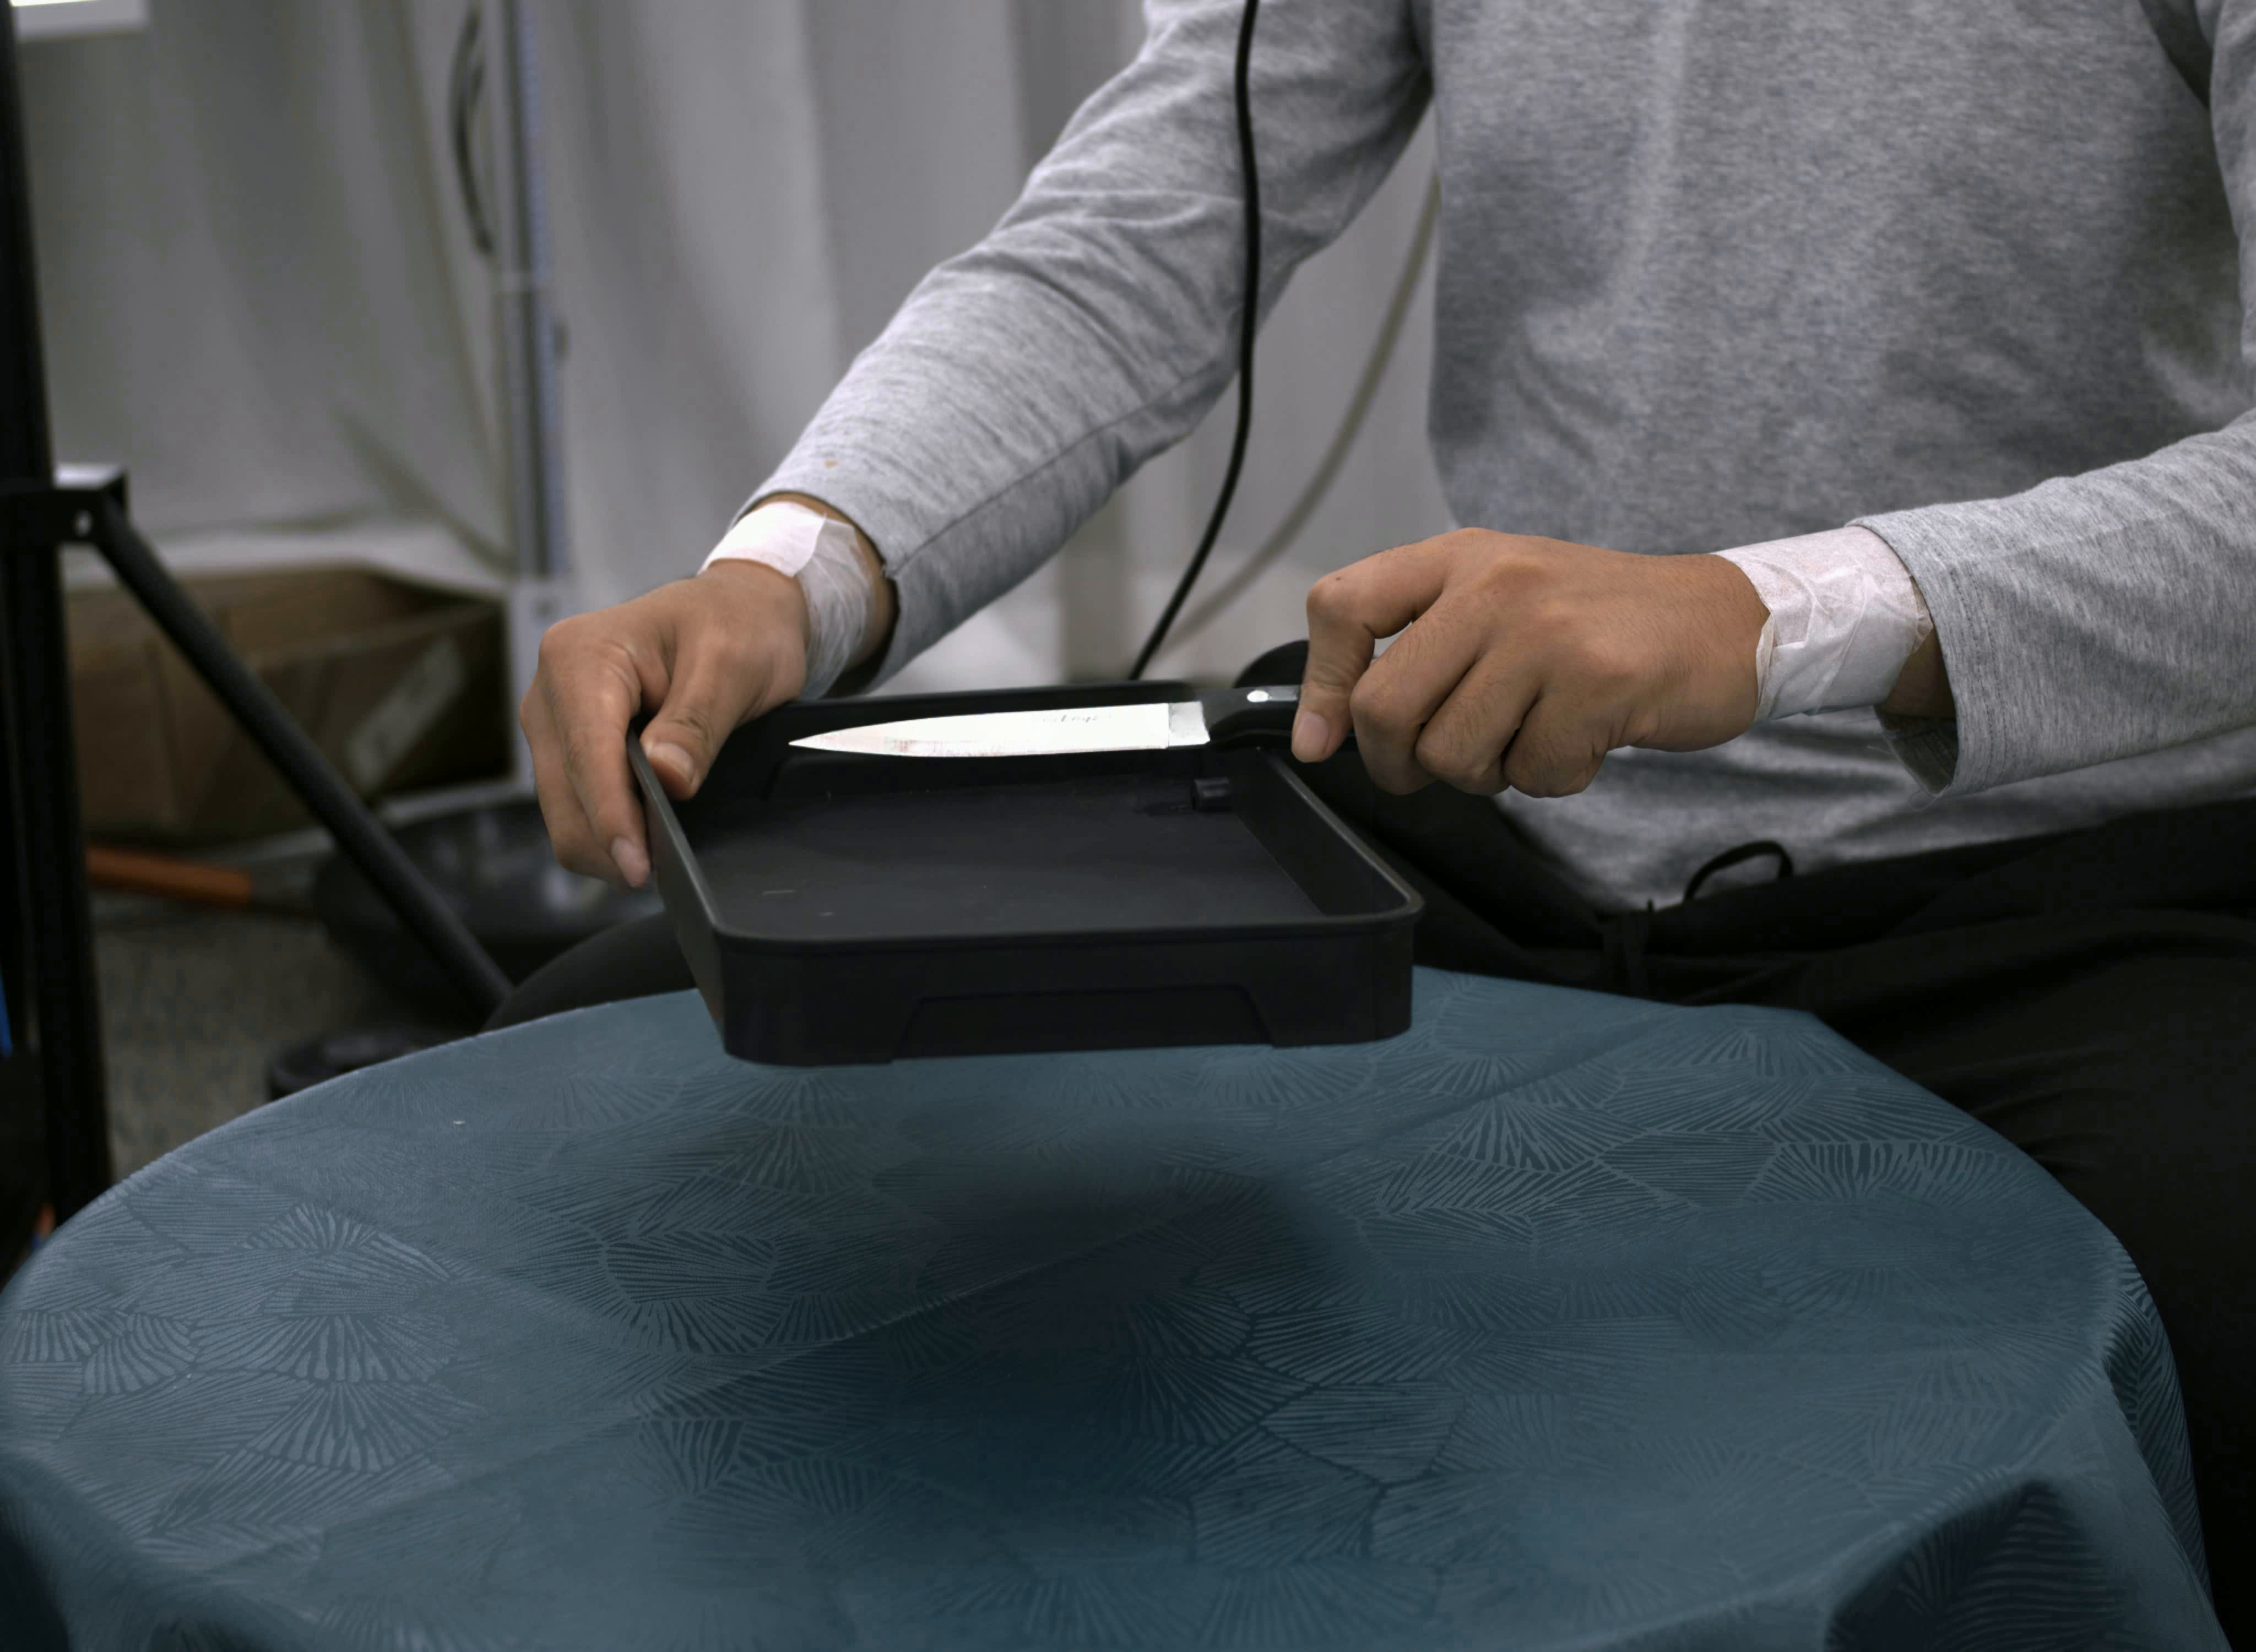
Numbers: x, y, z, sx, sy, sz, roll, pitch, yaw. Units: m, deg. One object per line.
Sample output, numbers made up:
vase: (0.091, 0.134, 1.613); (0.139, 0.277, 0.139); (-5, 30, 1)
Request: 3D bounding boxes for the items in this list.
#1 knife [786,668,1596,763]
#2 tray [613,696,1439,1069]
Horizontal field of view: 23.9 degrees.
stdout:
knife: (0.017, -0.030, 1.540); (0.239, 0.016, 0.024); (-4, 34, 11)
tray: (-0.037, 0.011, 1.471); (0.182, 0.037, 0.321); (-3, 11, -10)
